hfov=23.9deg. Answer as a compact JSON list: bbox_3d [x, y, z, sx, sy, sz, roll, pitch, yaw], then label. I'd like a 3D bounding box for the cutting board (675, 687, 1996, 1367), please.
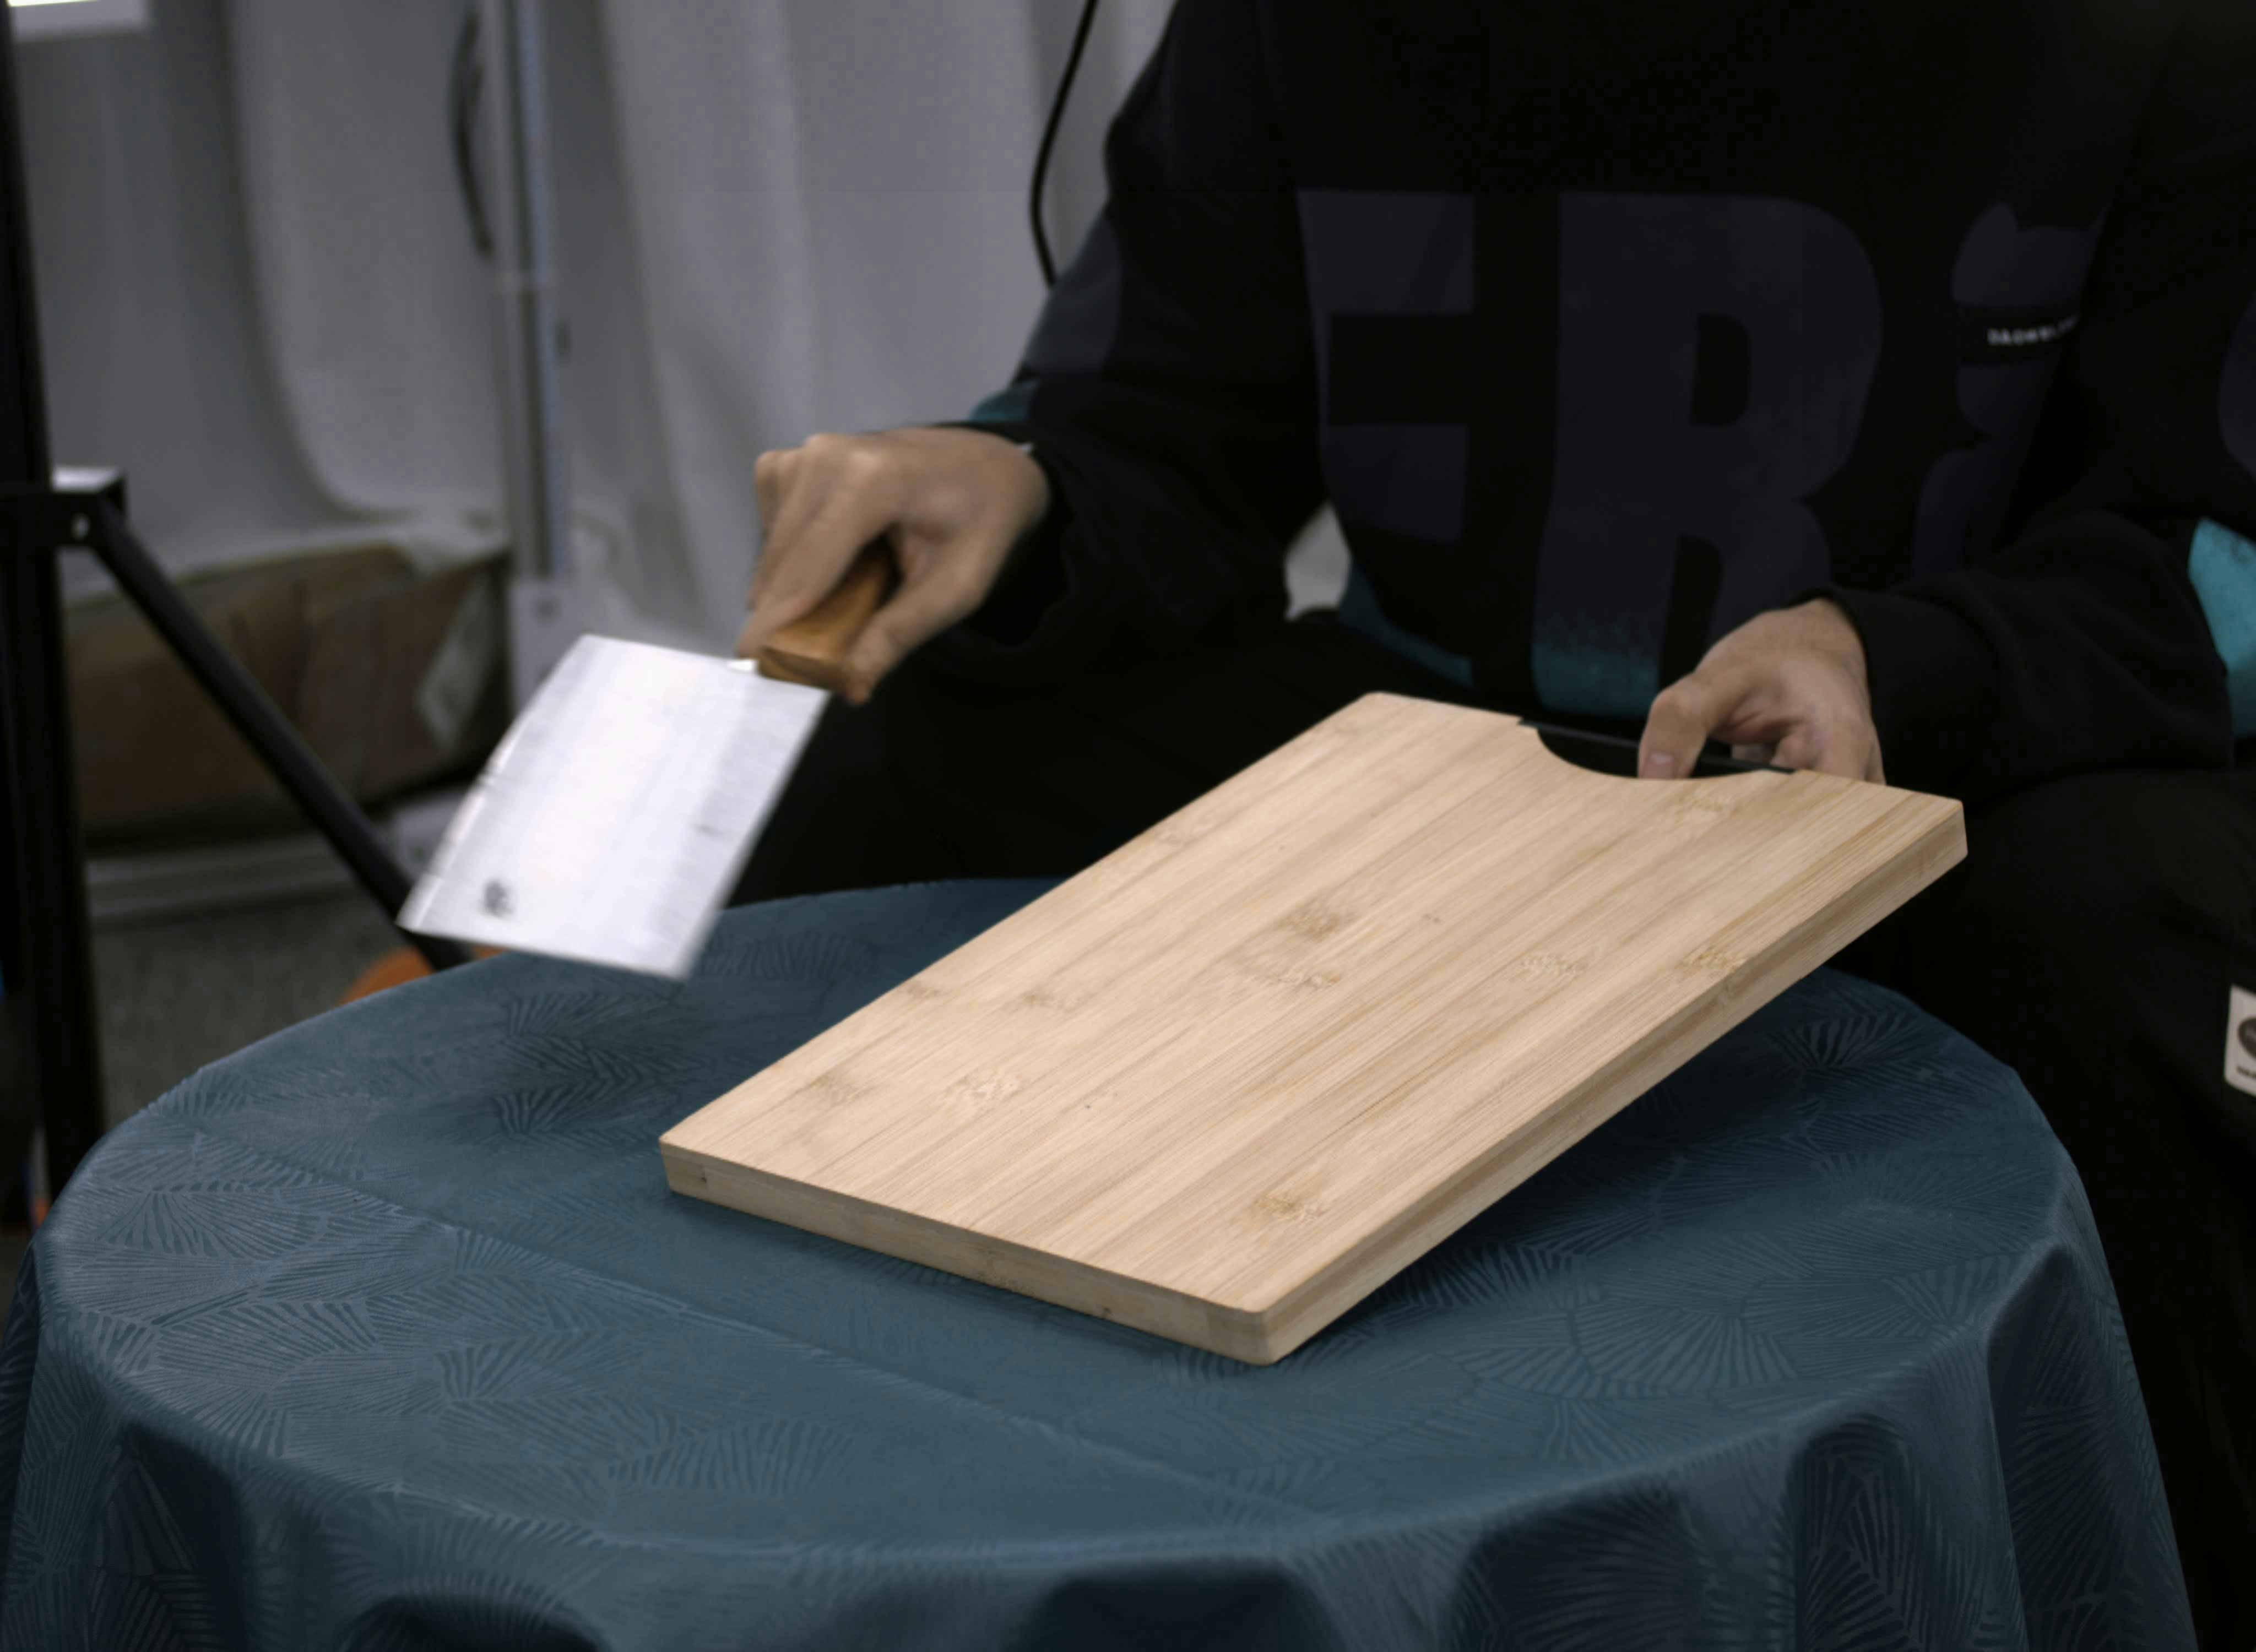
[{"bbox_3d":[0.064,0.050,1.602,0.256,0.023,0.342,12,32,42],"label":"cutting board"}]

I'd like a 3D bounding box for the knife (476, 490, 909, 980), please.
[{"bbox_3d":[-0.143,-0.037,1.761,0.093,0.021,0.305,9,33,8],"label":"knife"}]
